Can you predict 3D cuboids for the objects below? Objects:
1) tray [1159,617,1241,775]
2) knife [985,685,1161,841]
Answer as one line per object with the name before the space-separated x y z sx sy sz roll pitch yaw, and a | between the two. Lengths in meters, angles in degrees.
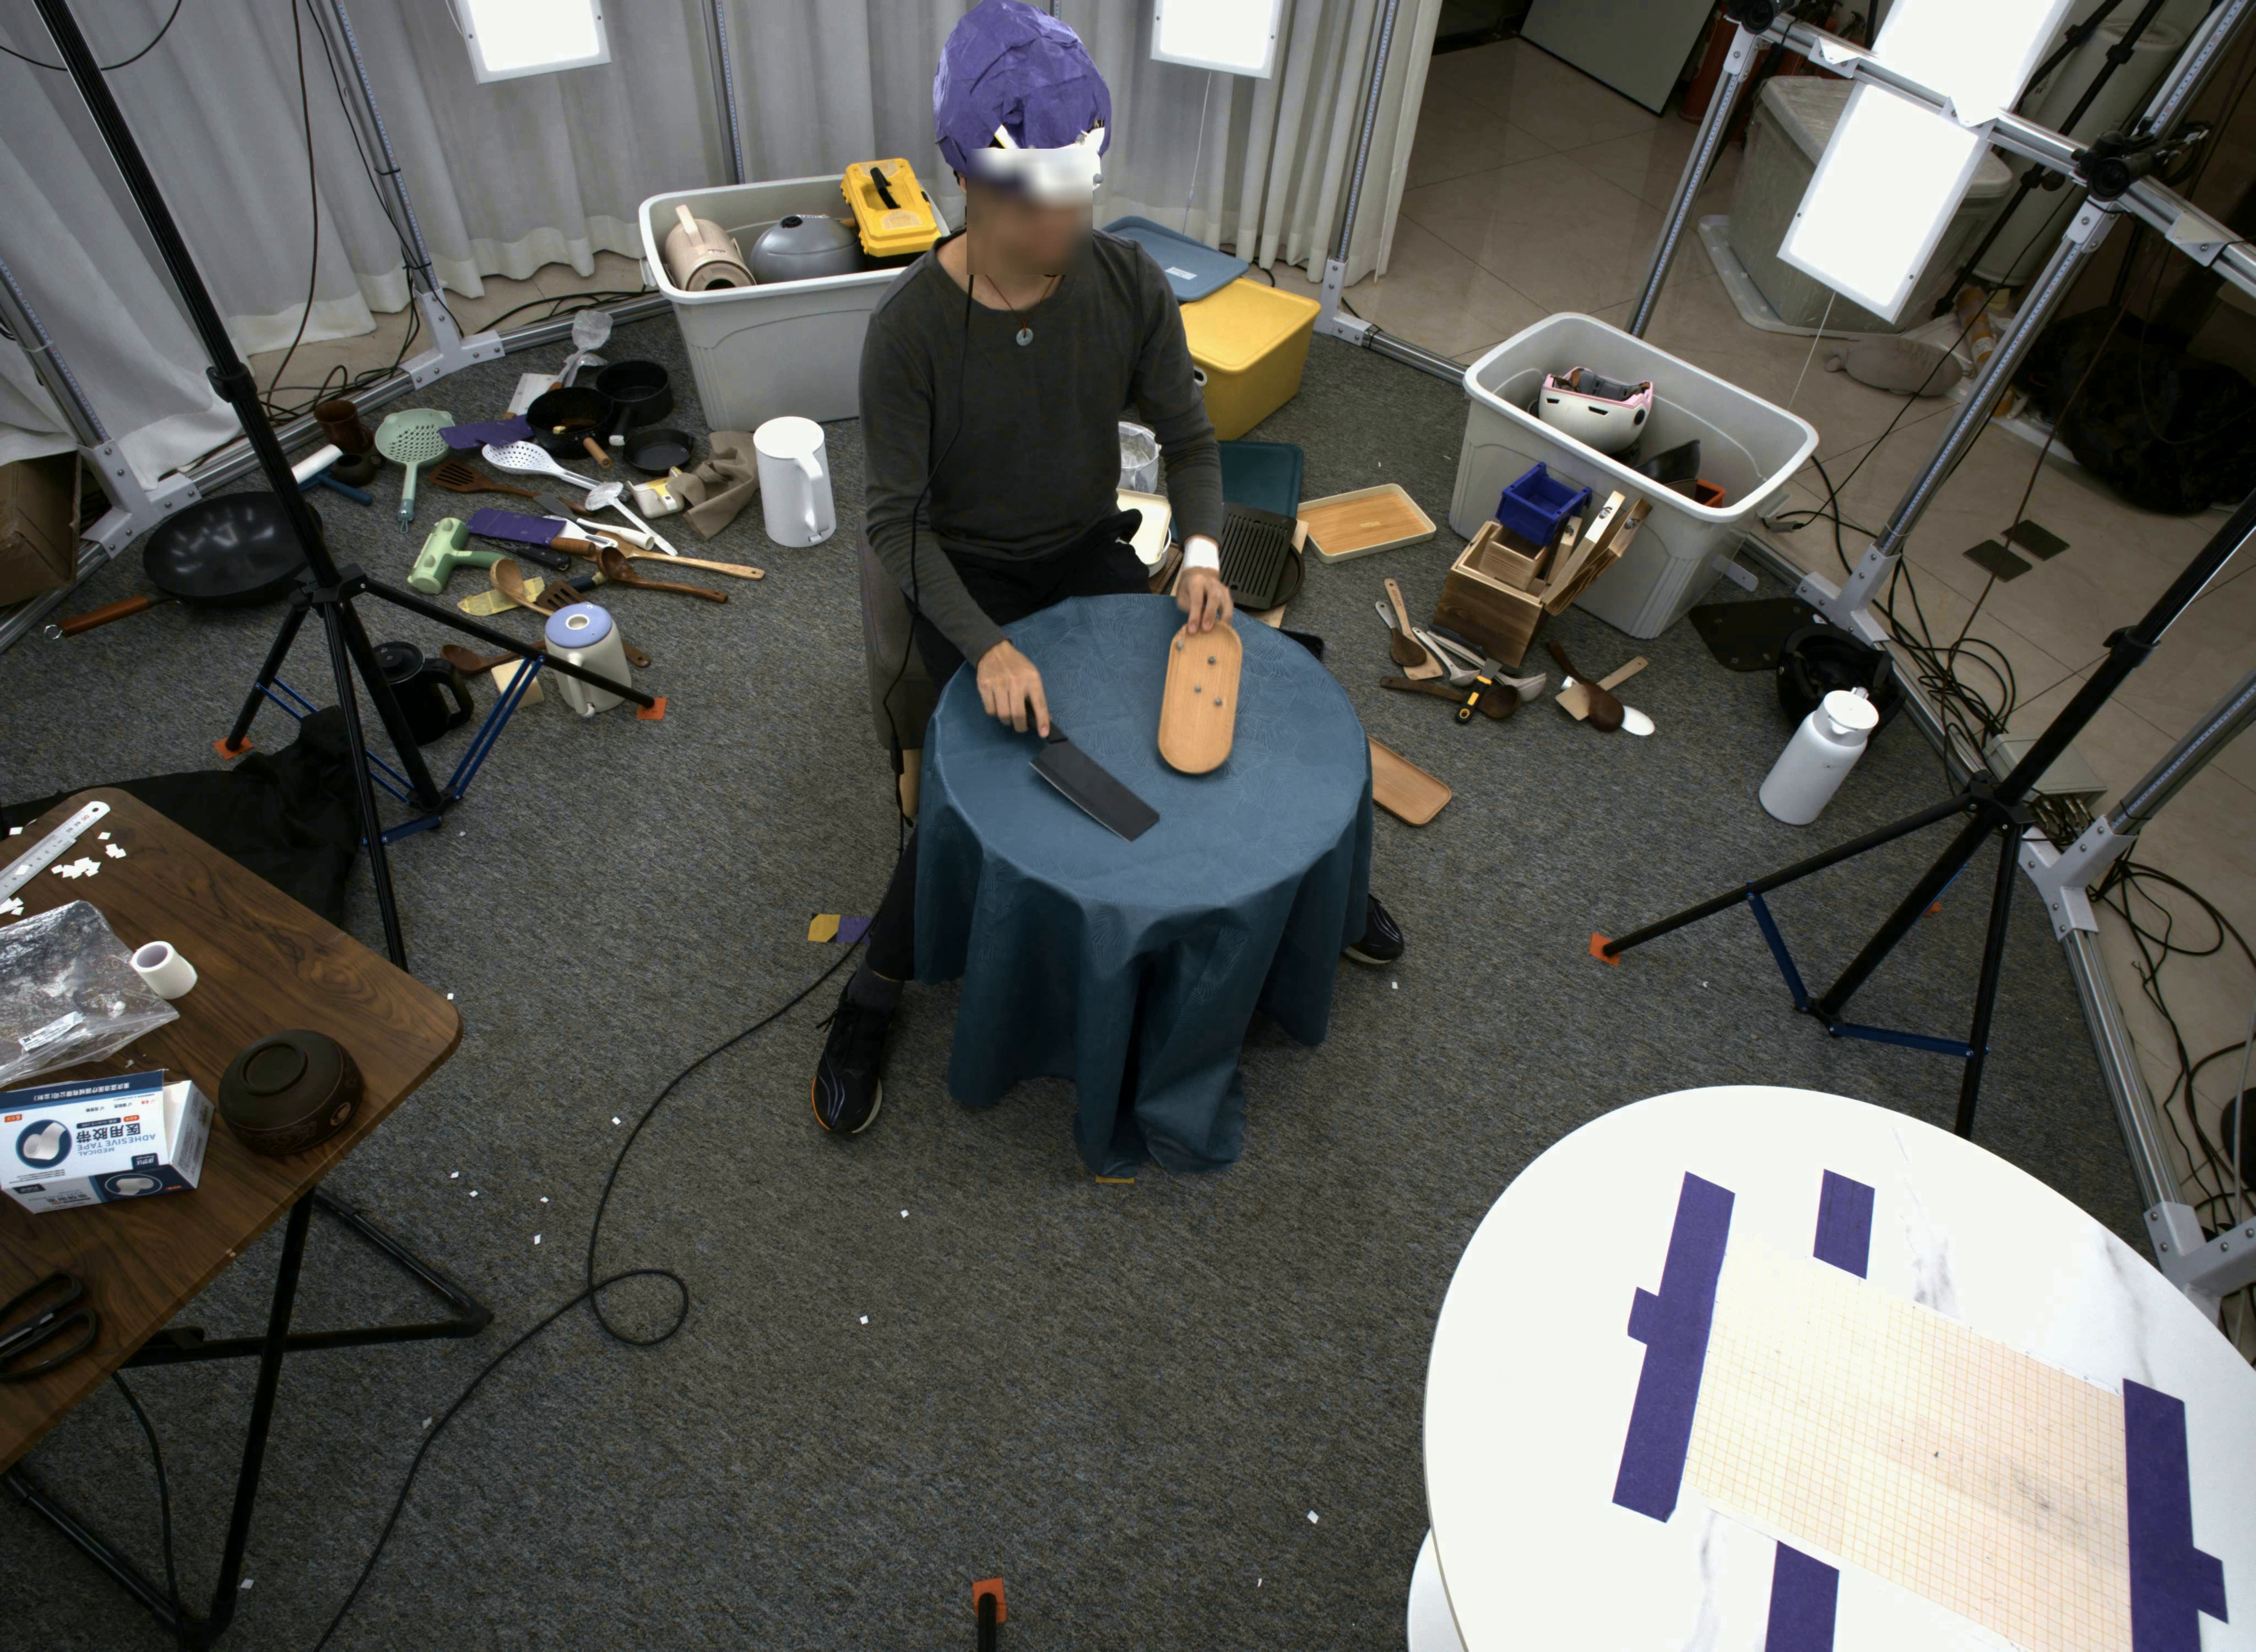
tray | 0.100 -0.179 1.761 0.102 0.020 0.234 3 72 9
knife | -0.084 -0.090 1.710 0.081 0.020 0.306 -36 67 -24
